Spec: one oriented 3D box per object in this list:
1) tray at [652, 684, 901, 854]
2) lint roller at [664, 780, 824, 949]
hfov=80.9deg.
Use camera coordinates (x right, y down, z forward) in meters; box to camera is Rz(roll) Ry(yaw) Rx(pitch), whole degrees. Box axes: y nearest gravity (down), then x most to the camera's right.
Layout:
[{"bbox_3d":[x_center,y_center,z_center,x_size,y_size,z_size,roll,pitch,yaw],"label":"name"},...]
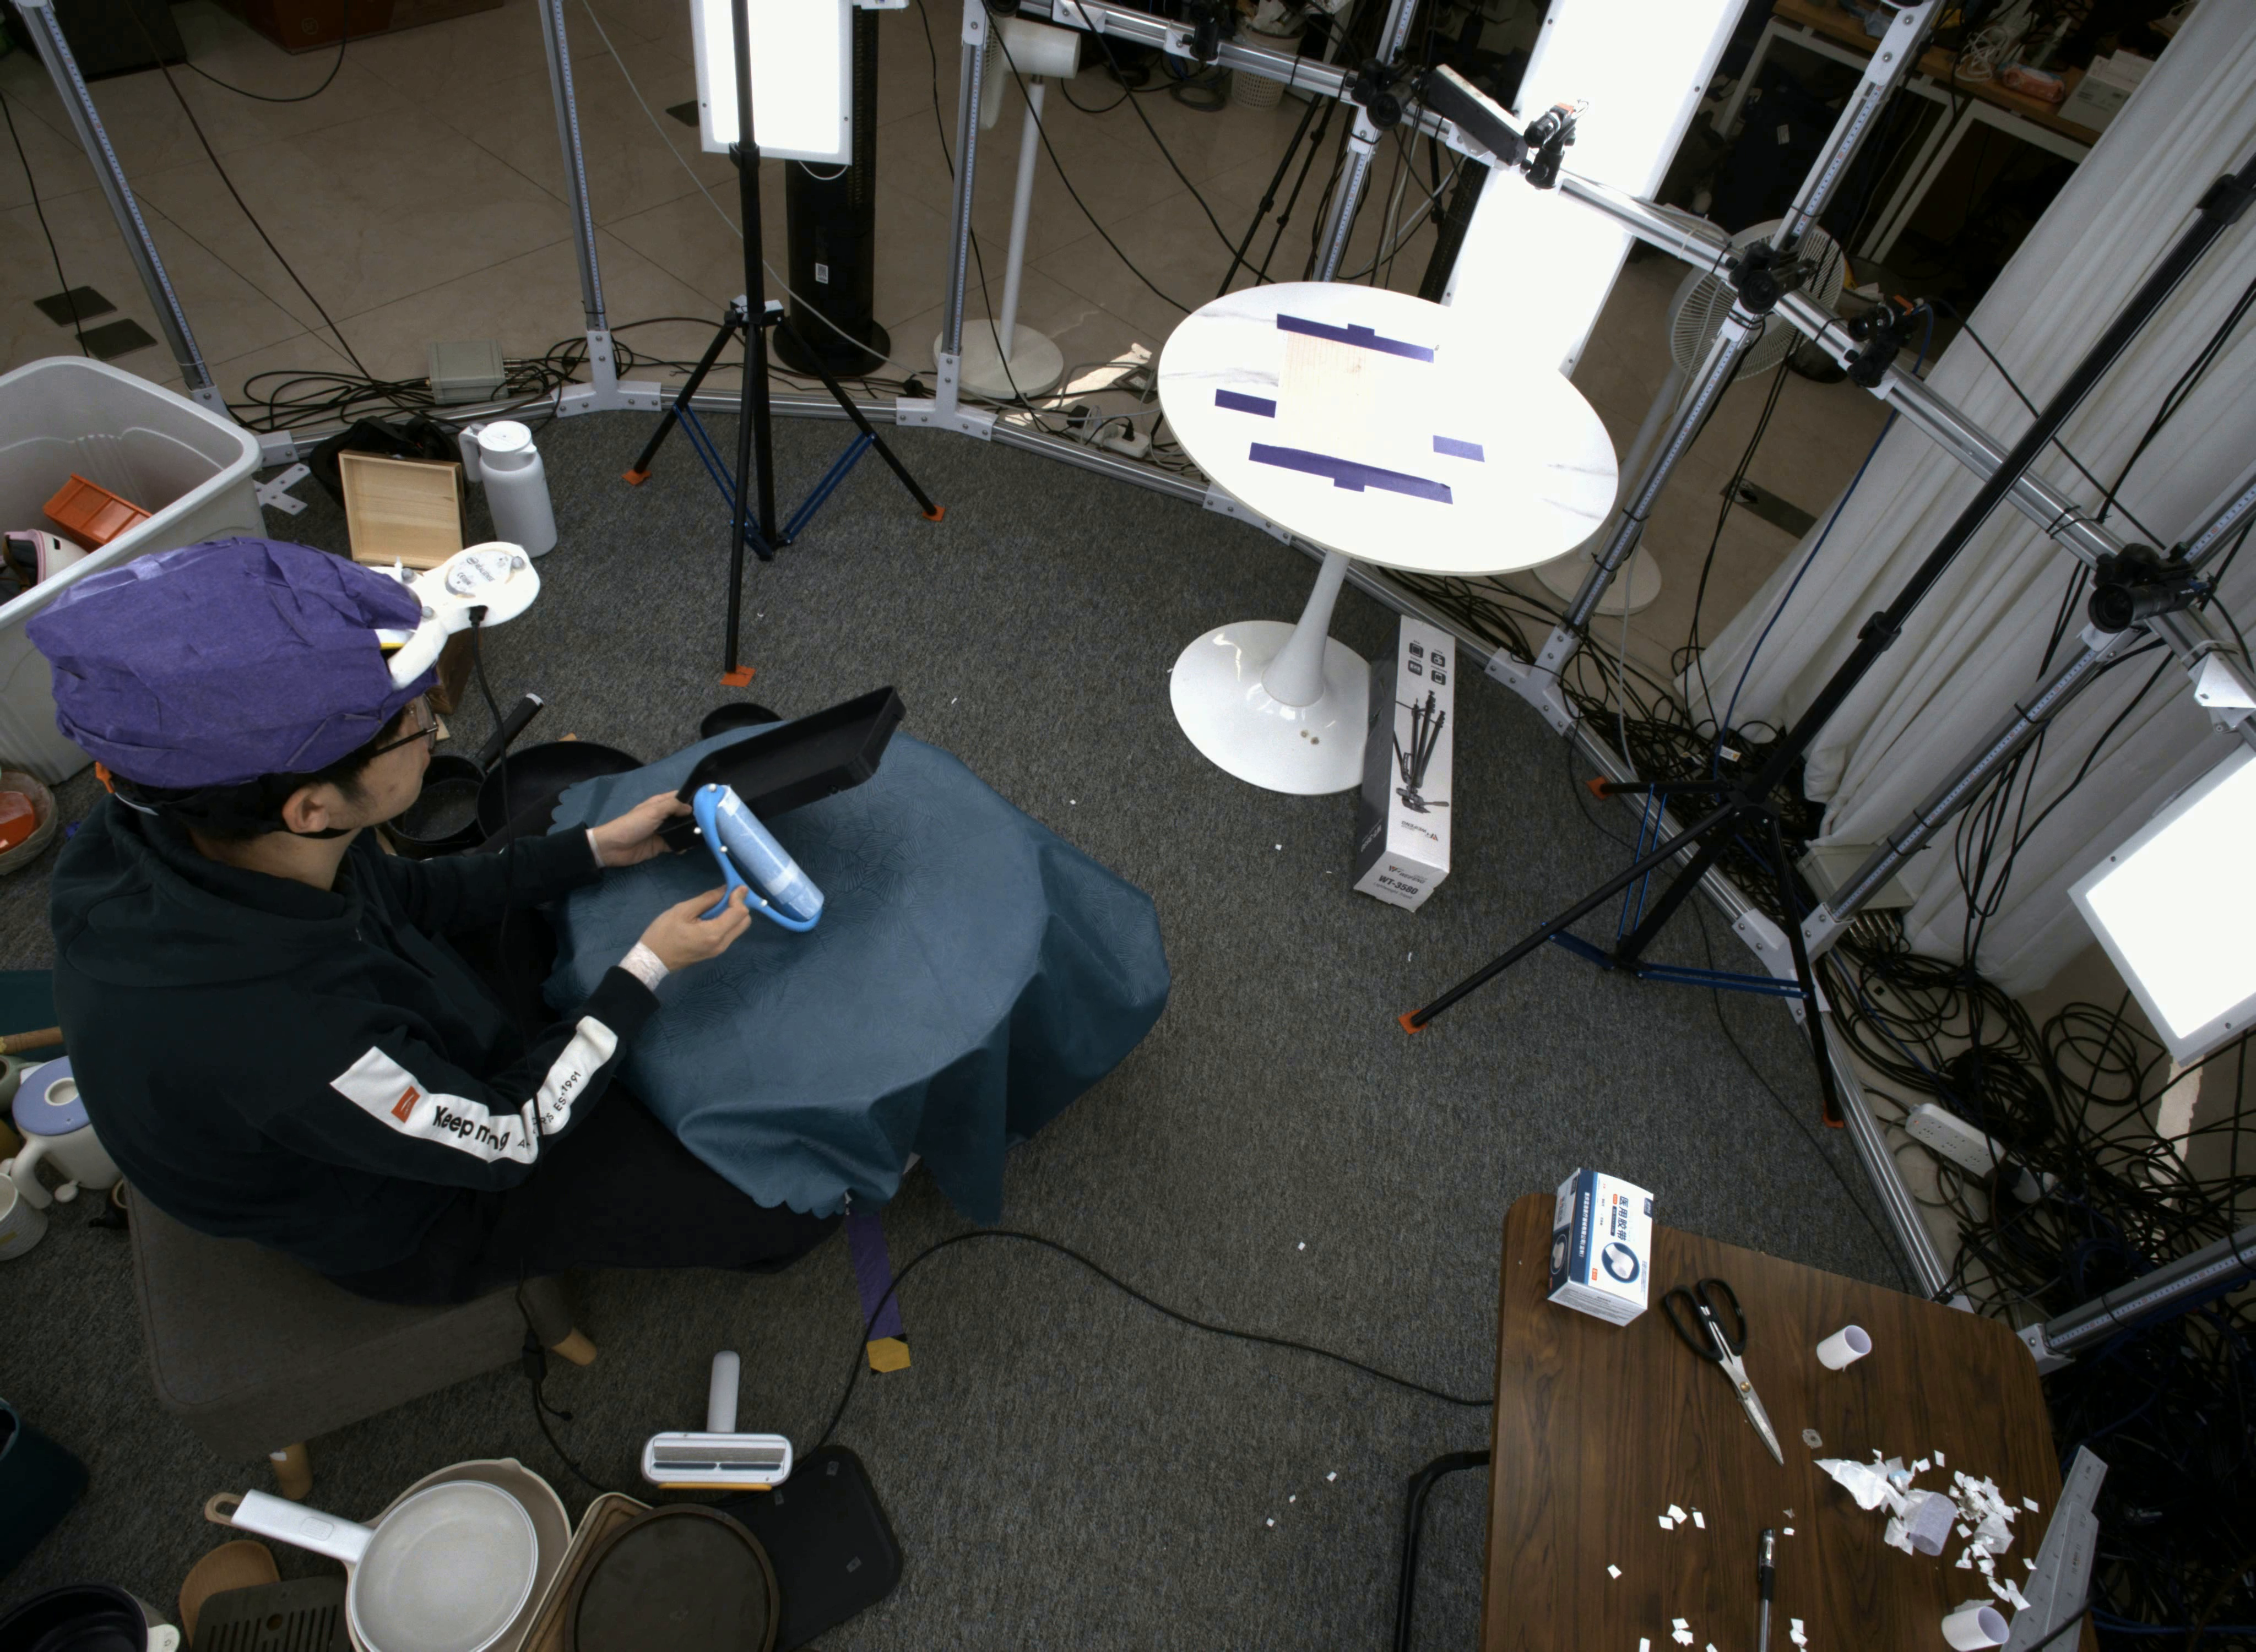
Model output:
[{"bbox_3d":[-0.441,-0.073,1.627,0.312,0.038,0.181,-18,33,17],"label":"tray"},{"bbox_3d":[-0.477,0.077,1.545,0.065,0.238,0.180,10,56,42],"label":"lint roller"}]
